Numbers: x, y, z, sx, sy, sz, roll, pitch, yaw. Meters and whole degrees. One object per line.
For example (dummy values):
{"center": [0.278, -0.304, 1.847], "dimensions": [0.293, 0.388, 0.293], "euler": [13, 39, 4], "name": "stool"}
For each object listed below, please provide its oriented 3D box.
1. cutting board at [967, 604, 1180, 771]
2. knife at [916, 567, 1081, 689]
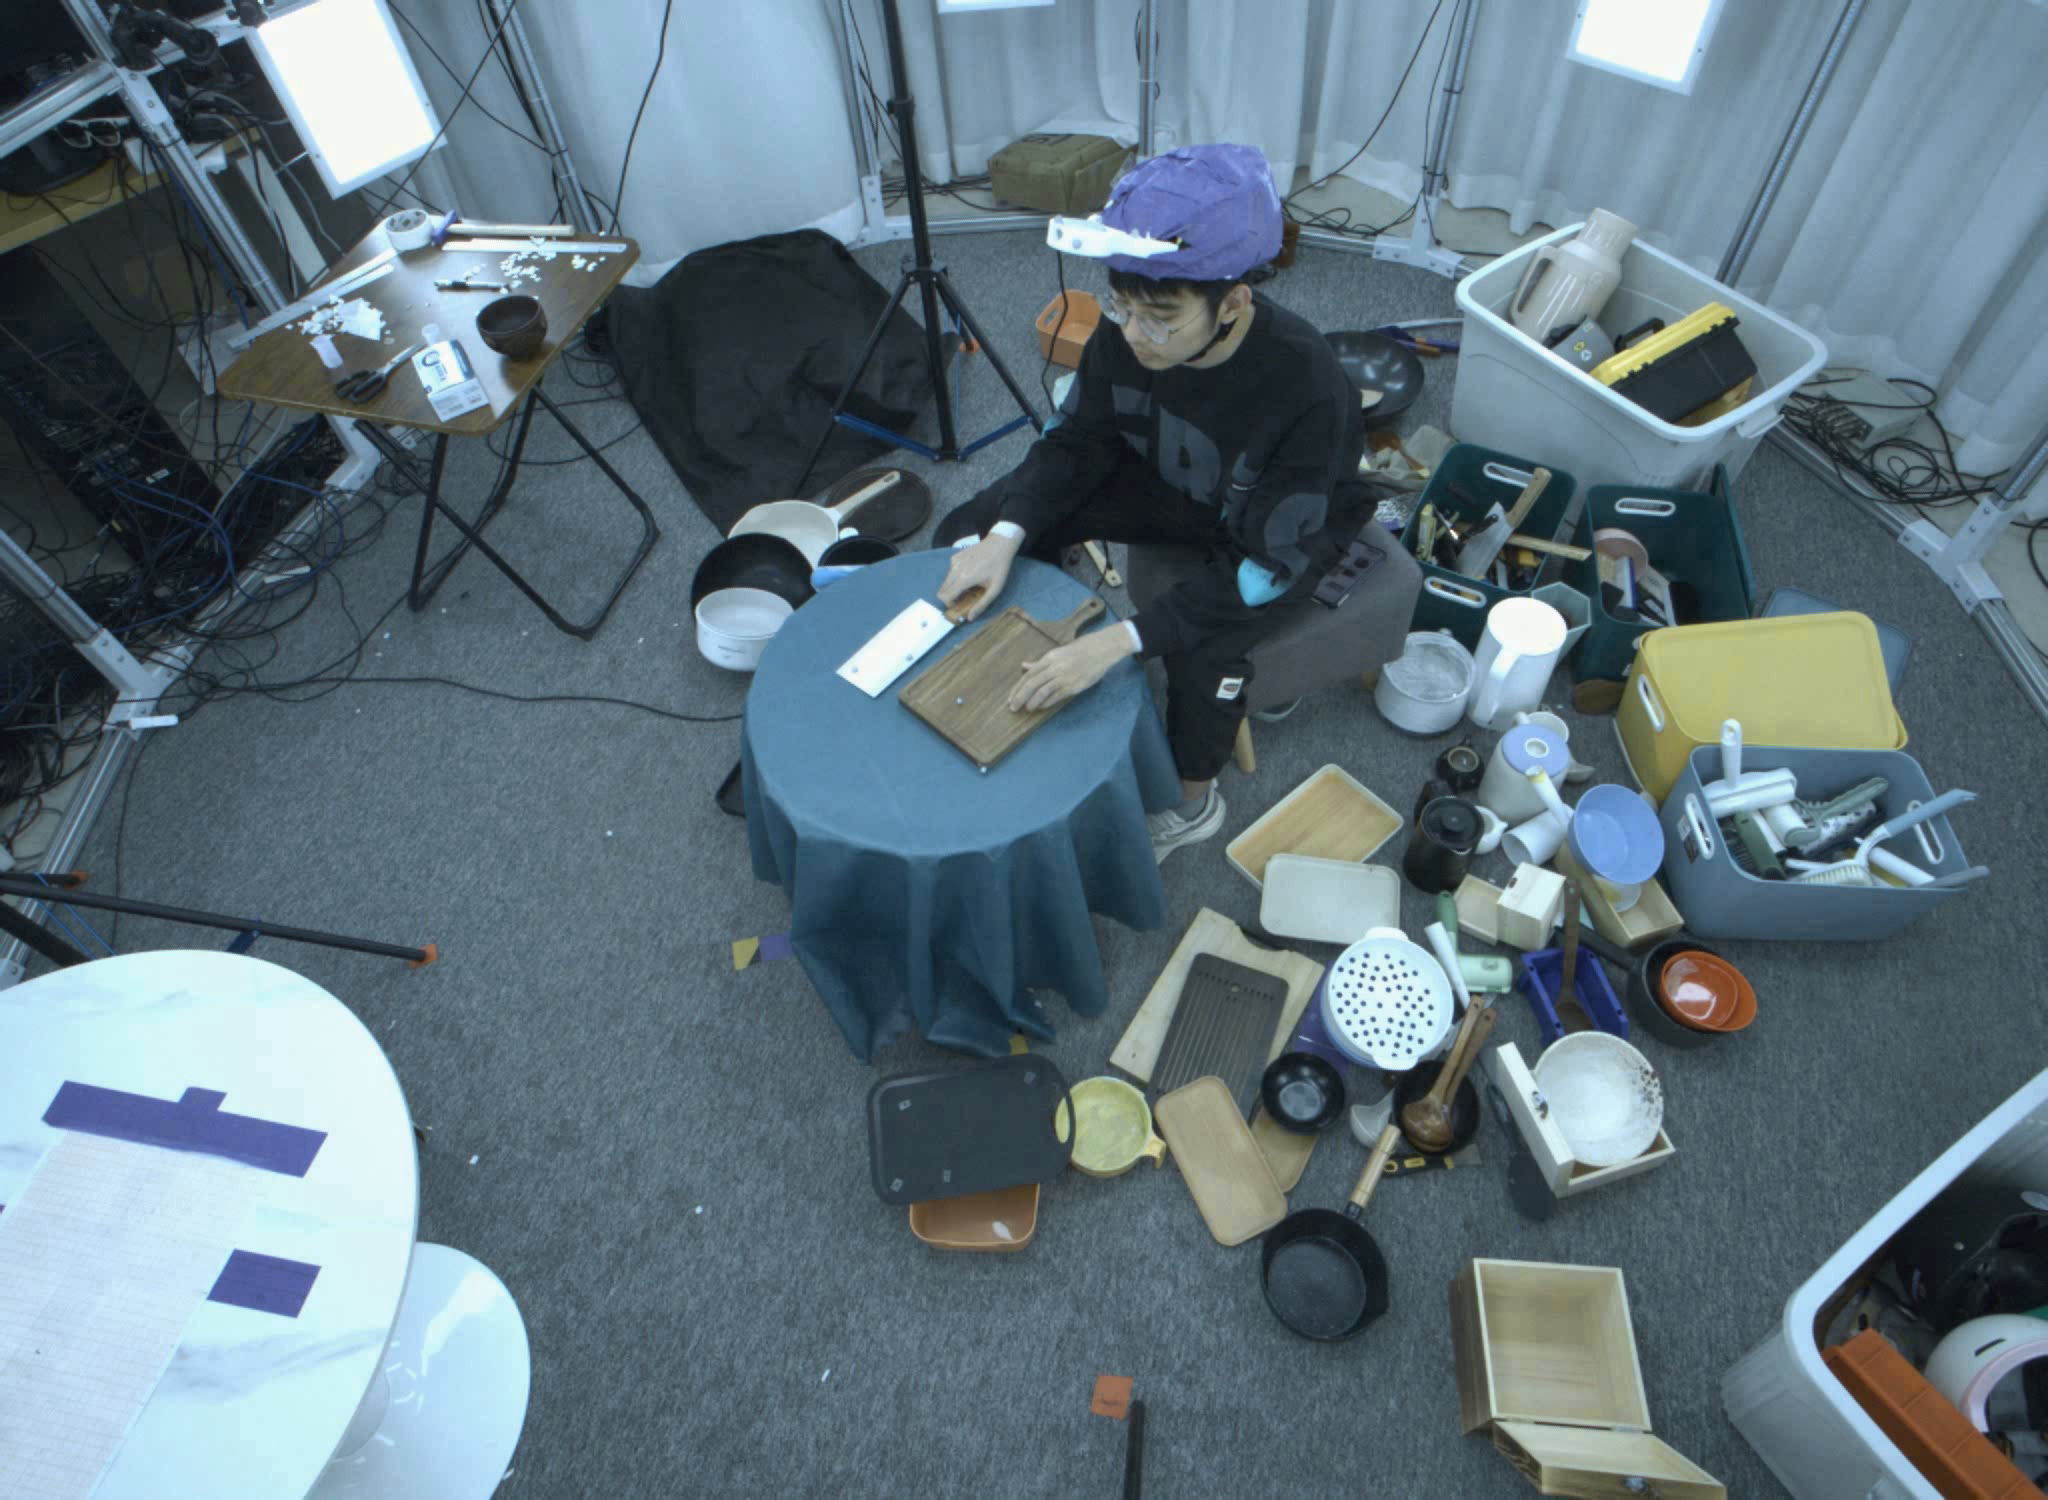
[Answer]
{"center": [0.107, -0.123, 1.861], "dimensions": [0.355, 0.023, 0.197], "euler": [-35, 62, -23], "name": "cutting board"}
{"center": [-0.043, -0.204, 1.923], "dimensions": [0.307, 0.021, 0.091], "euler": [-41, 59, -21], "name": "knife"}
